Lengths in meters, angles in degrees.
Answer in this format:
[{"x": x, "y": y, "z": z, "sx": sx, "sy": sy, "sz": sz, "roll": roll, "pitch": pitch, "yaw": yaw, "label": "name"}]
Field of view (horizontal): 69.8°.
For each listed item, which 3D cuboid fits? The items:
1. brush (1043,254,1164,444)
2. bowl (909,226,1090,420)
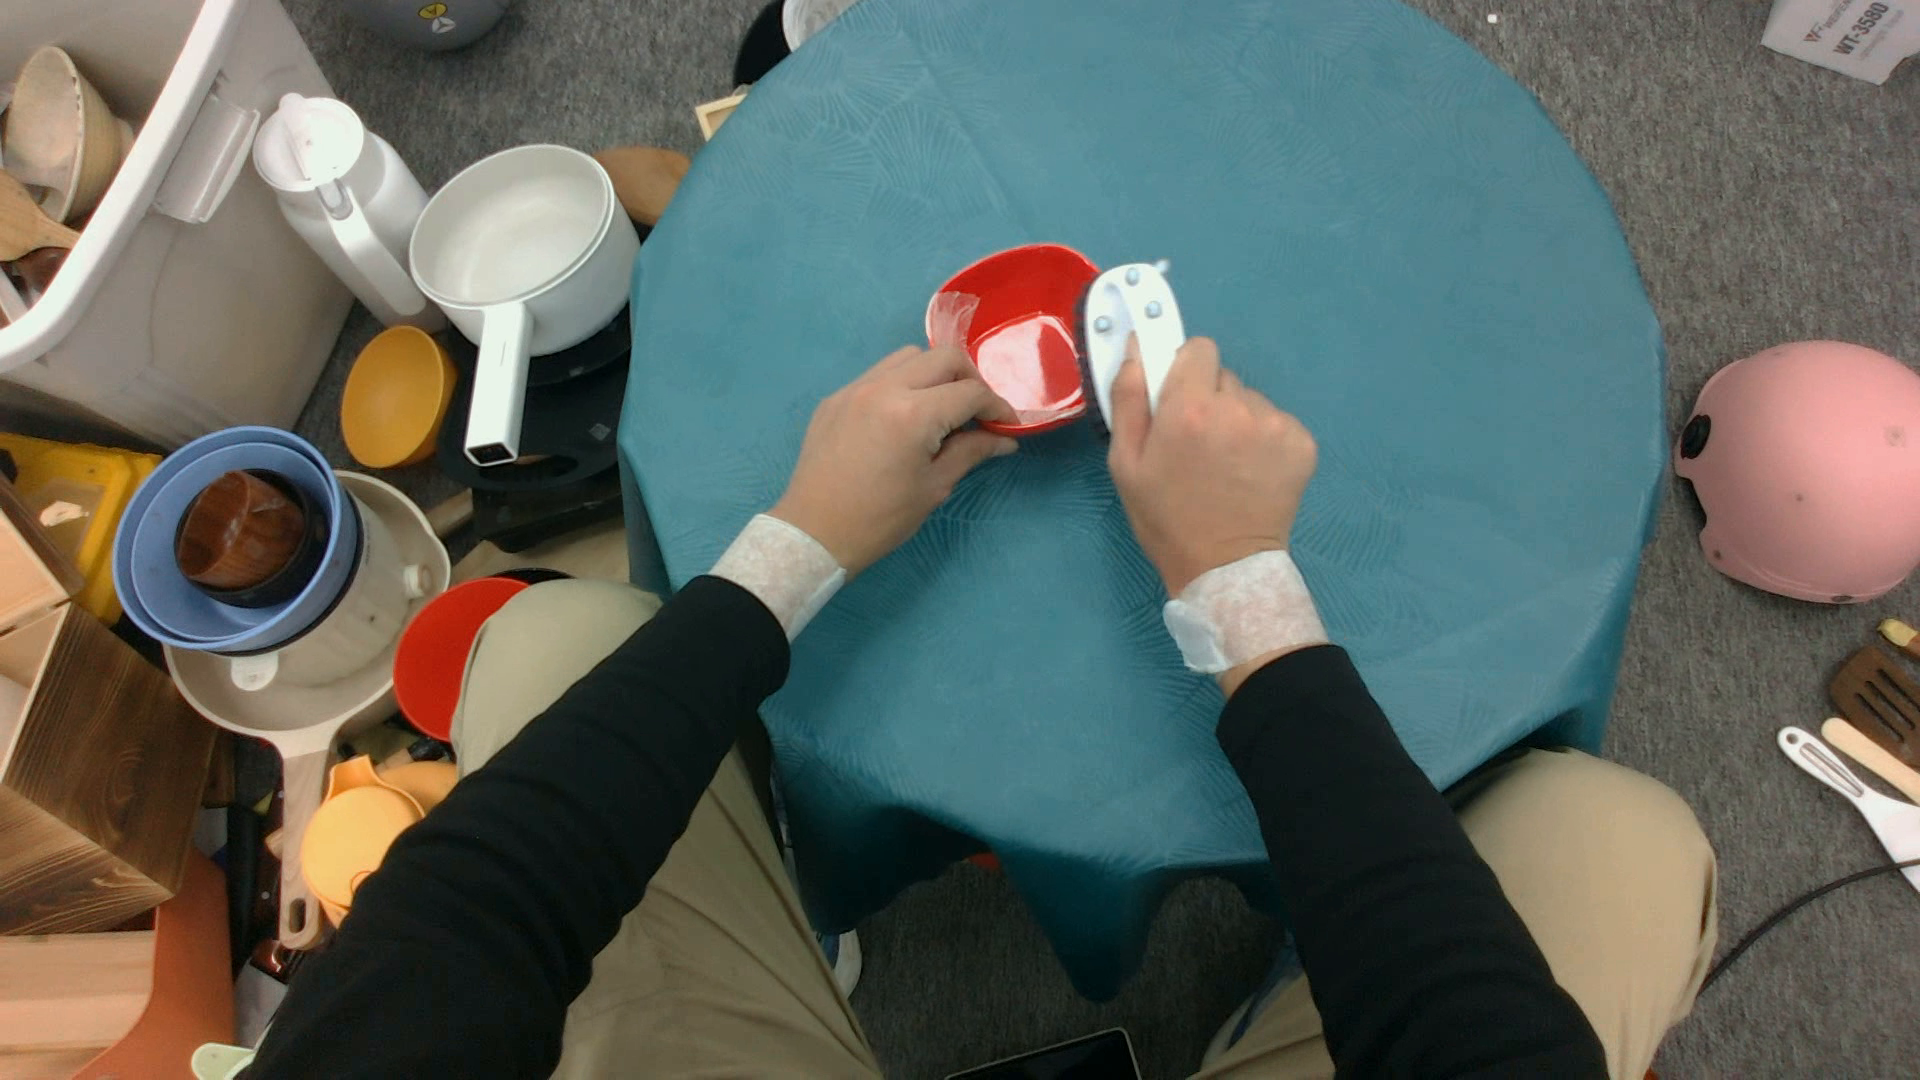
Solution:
[{"x": 0.080, "y": -0.098, "z": 0.706, "sx": 0.050, "sy": 0.072, "sz": 0.099, "roll": -12, "pitch": 96, "yaw": -11, "label": "brush"}, {"x": 0.031, "y": -0.114, "z": 0.779, "sx": 0.119, "sy": 0.051, "sz": 0.119, "roll": -1, "pitch": 69, "yaw": 2, "label": "bowl"}]
